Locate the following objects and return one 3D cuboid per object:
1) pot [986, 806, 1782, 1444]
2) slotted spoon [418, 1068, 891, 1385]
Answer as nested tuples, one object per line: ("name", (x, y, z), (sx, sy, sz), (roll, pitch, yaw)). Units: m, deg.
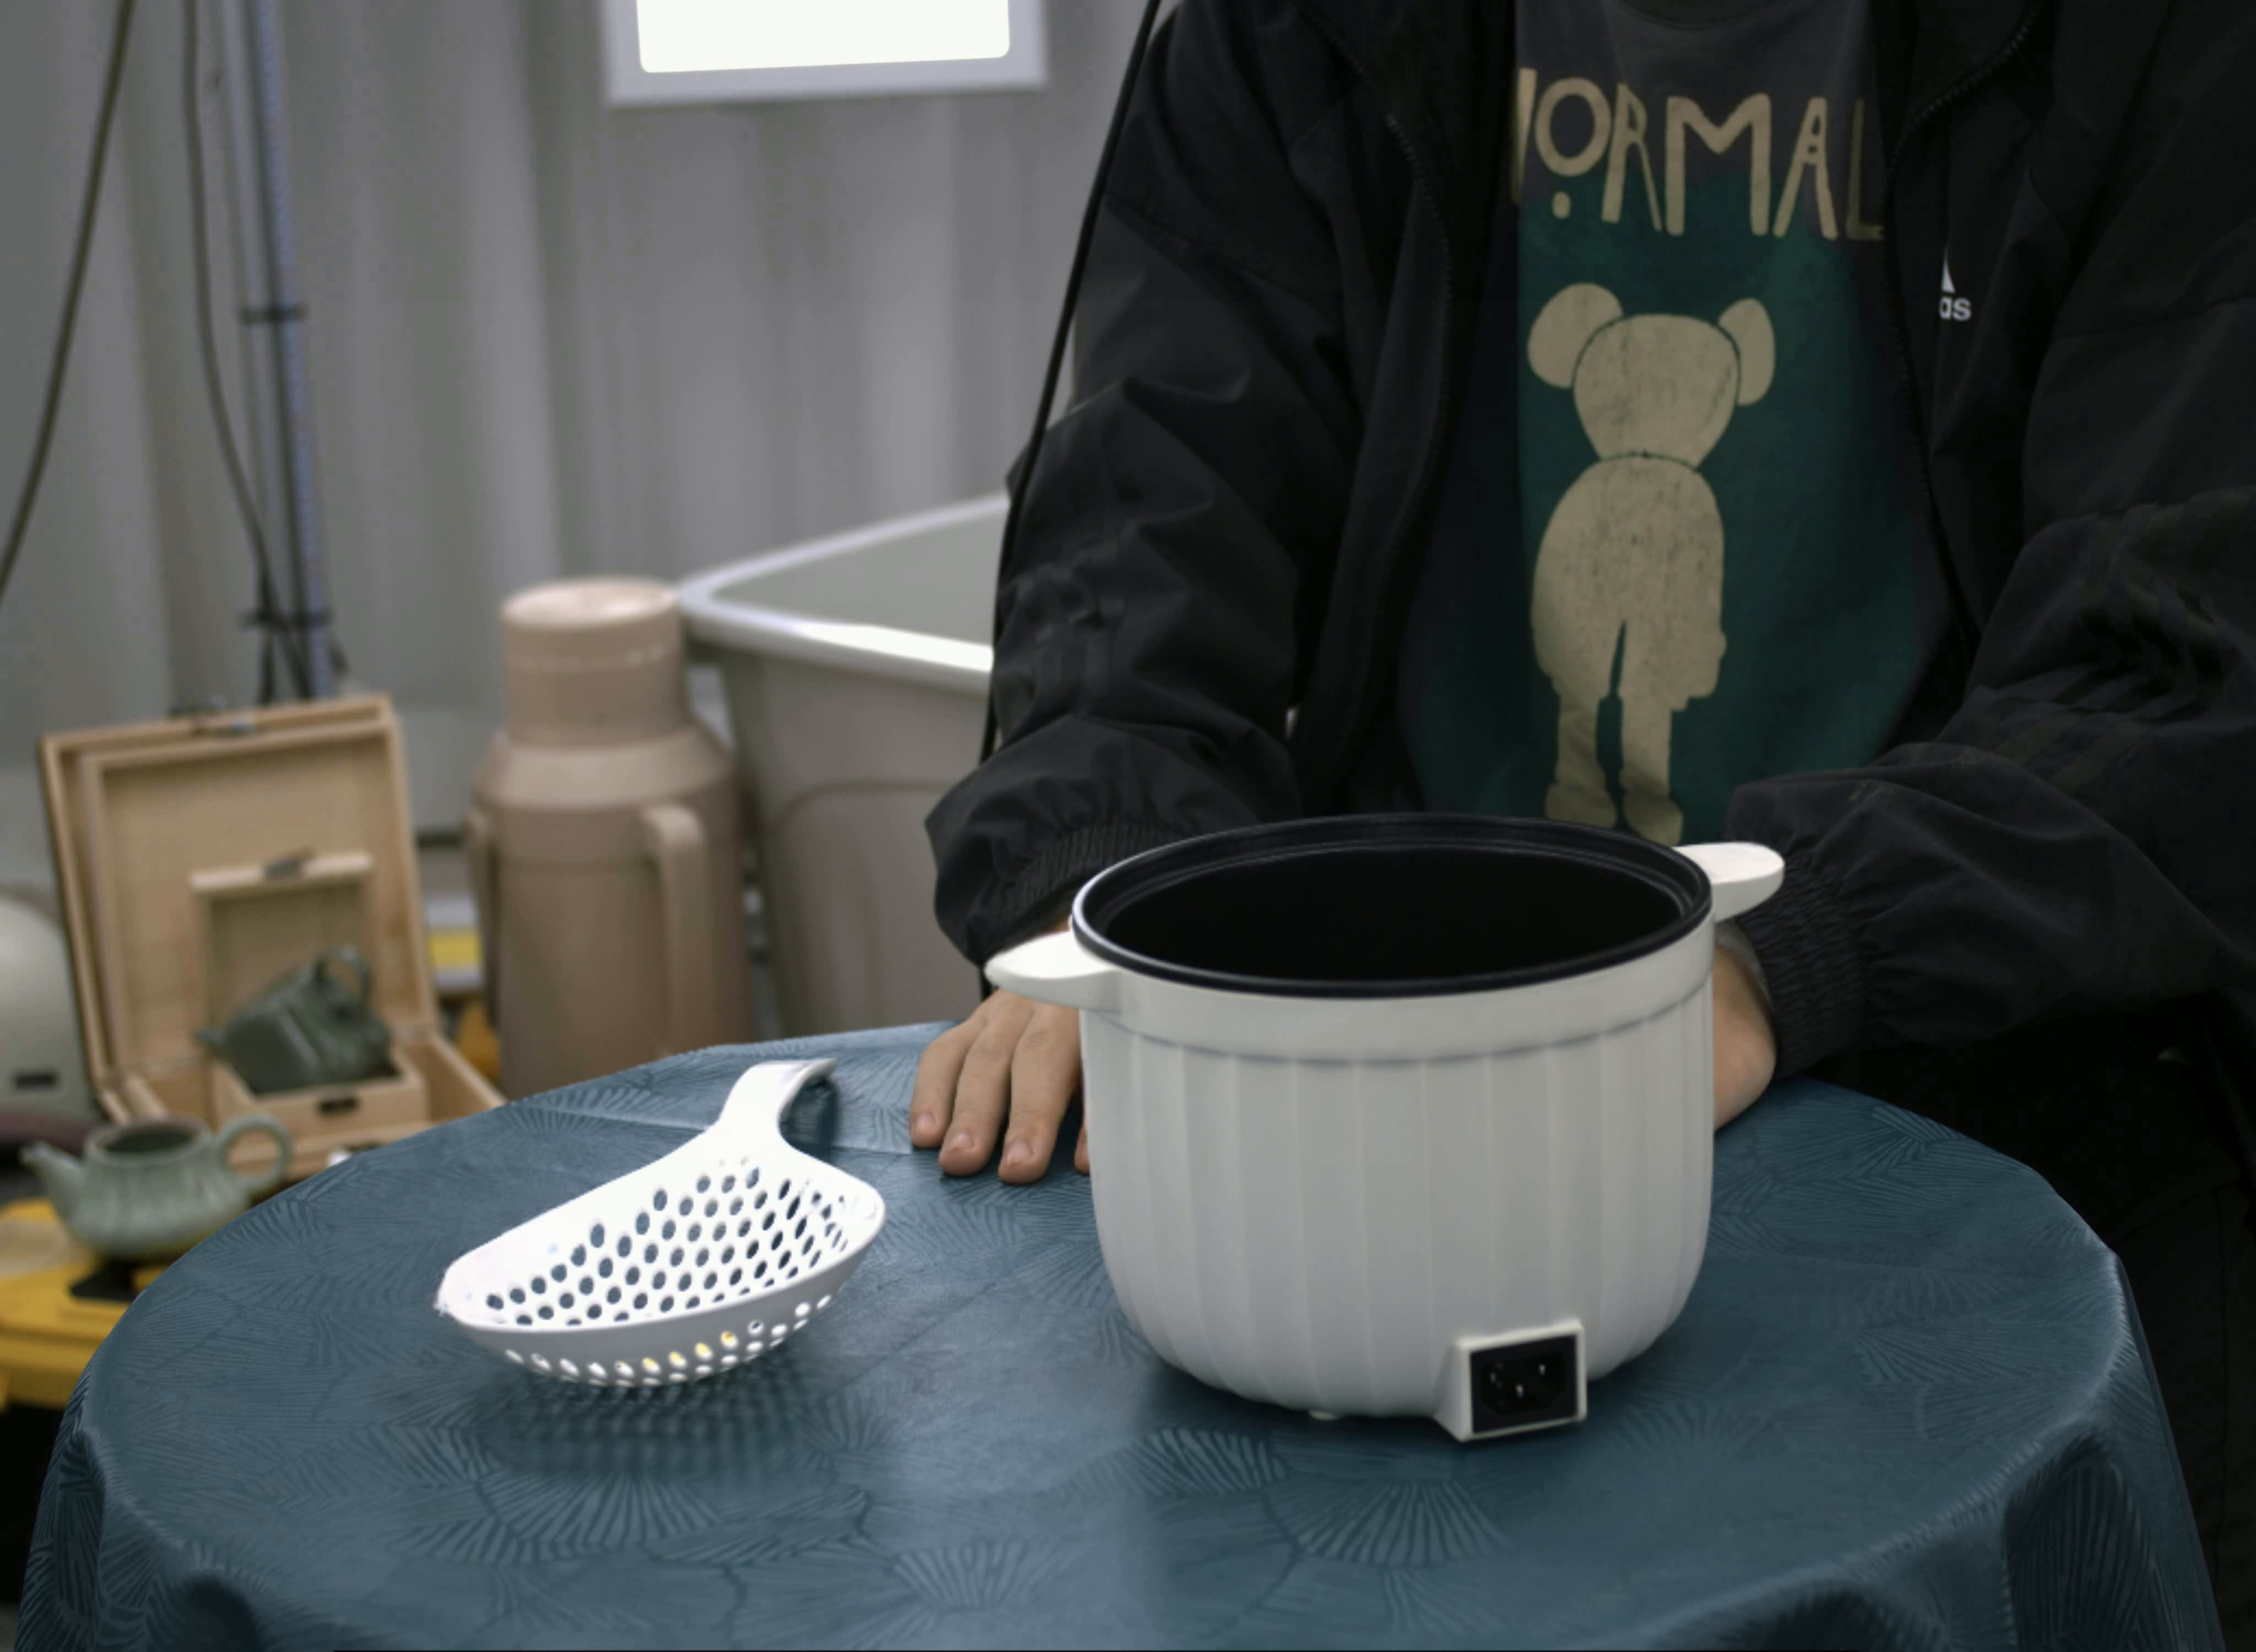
("pot", (0.074, 0.082, 1.556), (0.239, 0.142, 0.192), (-6, 18, -19))
("slotted spoon", (-0.122, 0.108, 1.677), (0.136, 0.050, 0.350), (-9, 14, 7))
